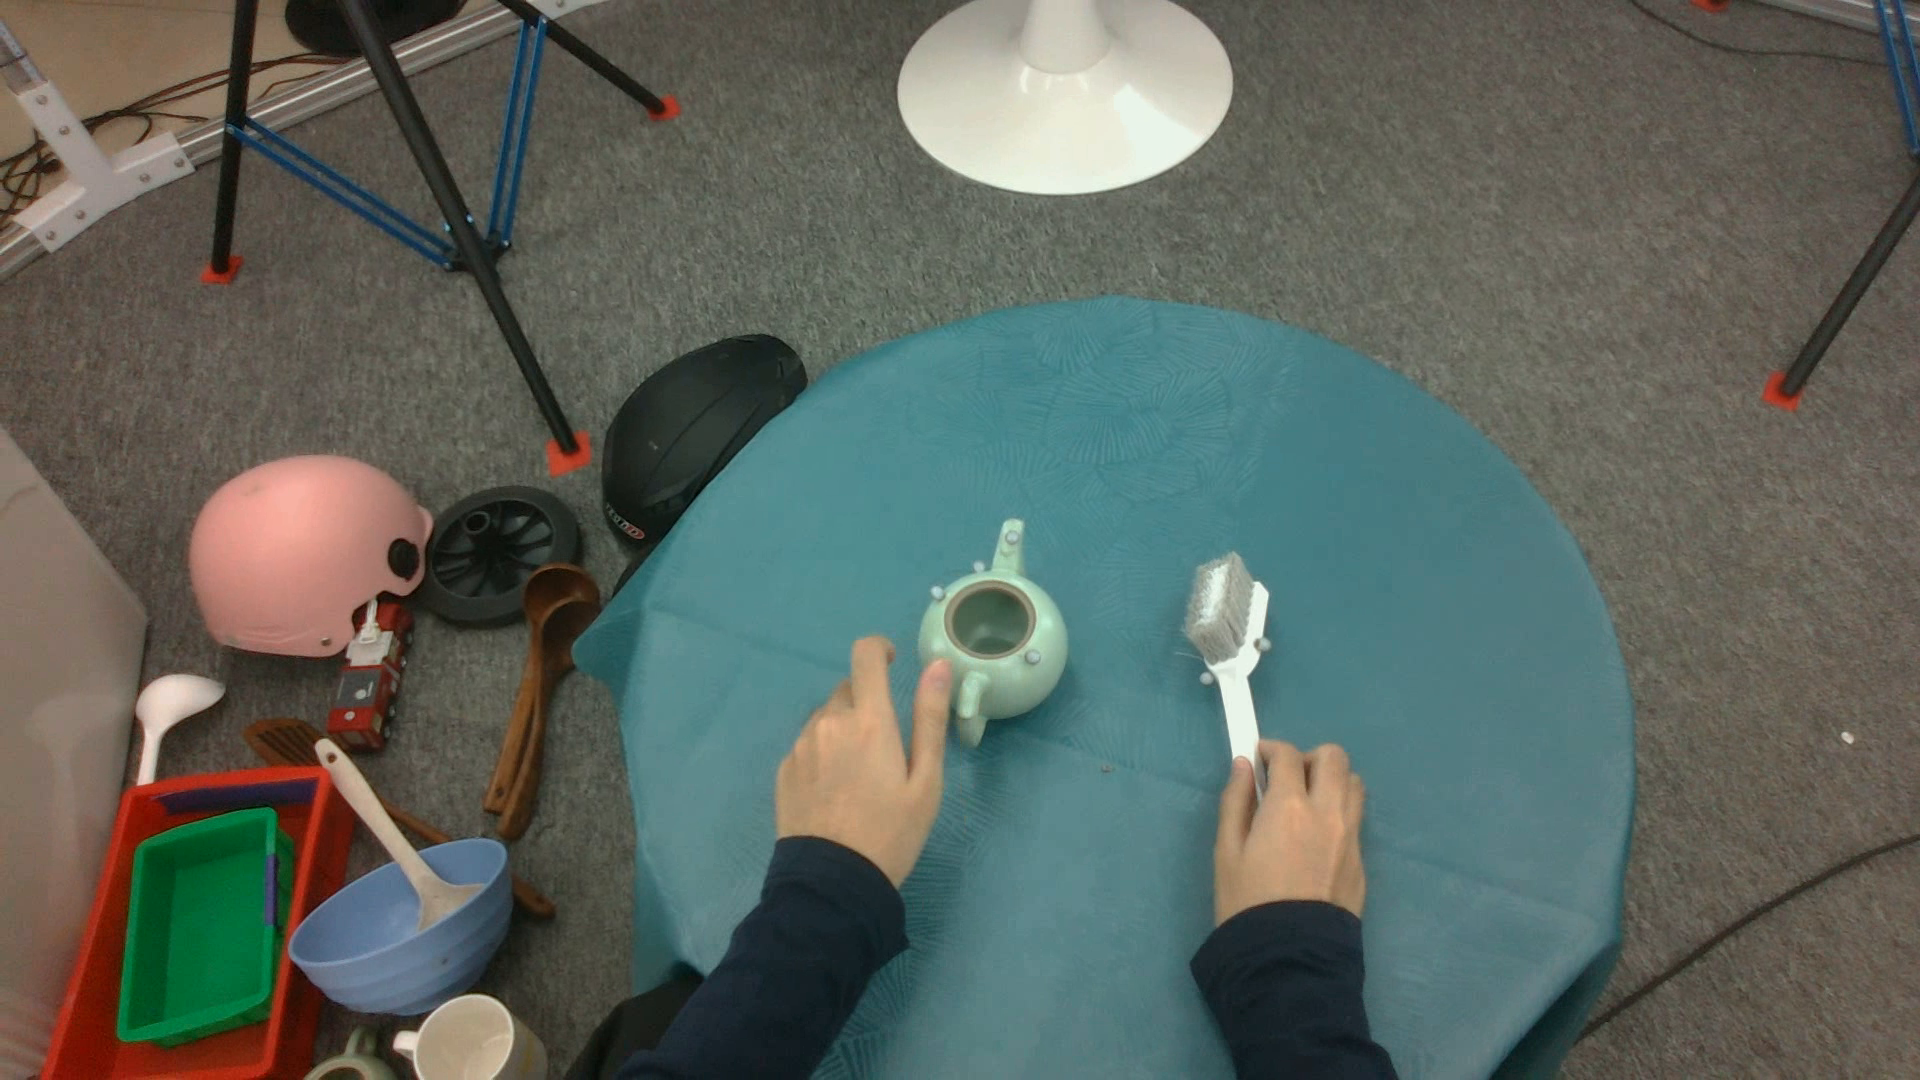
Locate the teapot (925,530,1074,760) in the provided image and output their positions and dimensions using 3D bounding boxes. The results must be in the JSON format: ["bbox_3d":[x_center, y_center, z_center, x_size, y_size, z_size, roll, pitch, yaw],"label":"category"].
[{"bbox_3d":[0.023,0.069,0.816,0.088,0.074,0.144,11,55,11],"label":"teapot"}]

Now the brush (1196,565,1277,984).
[{"bbox_3d":[0.156,0.123,0.779,0.034,0.050,0.245,-18,49,34],"label":"brush"}]
